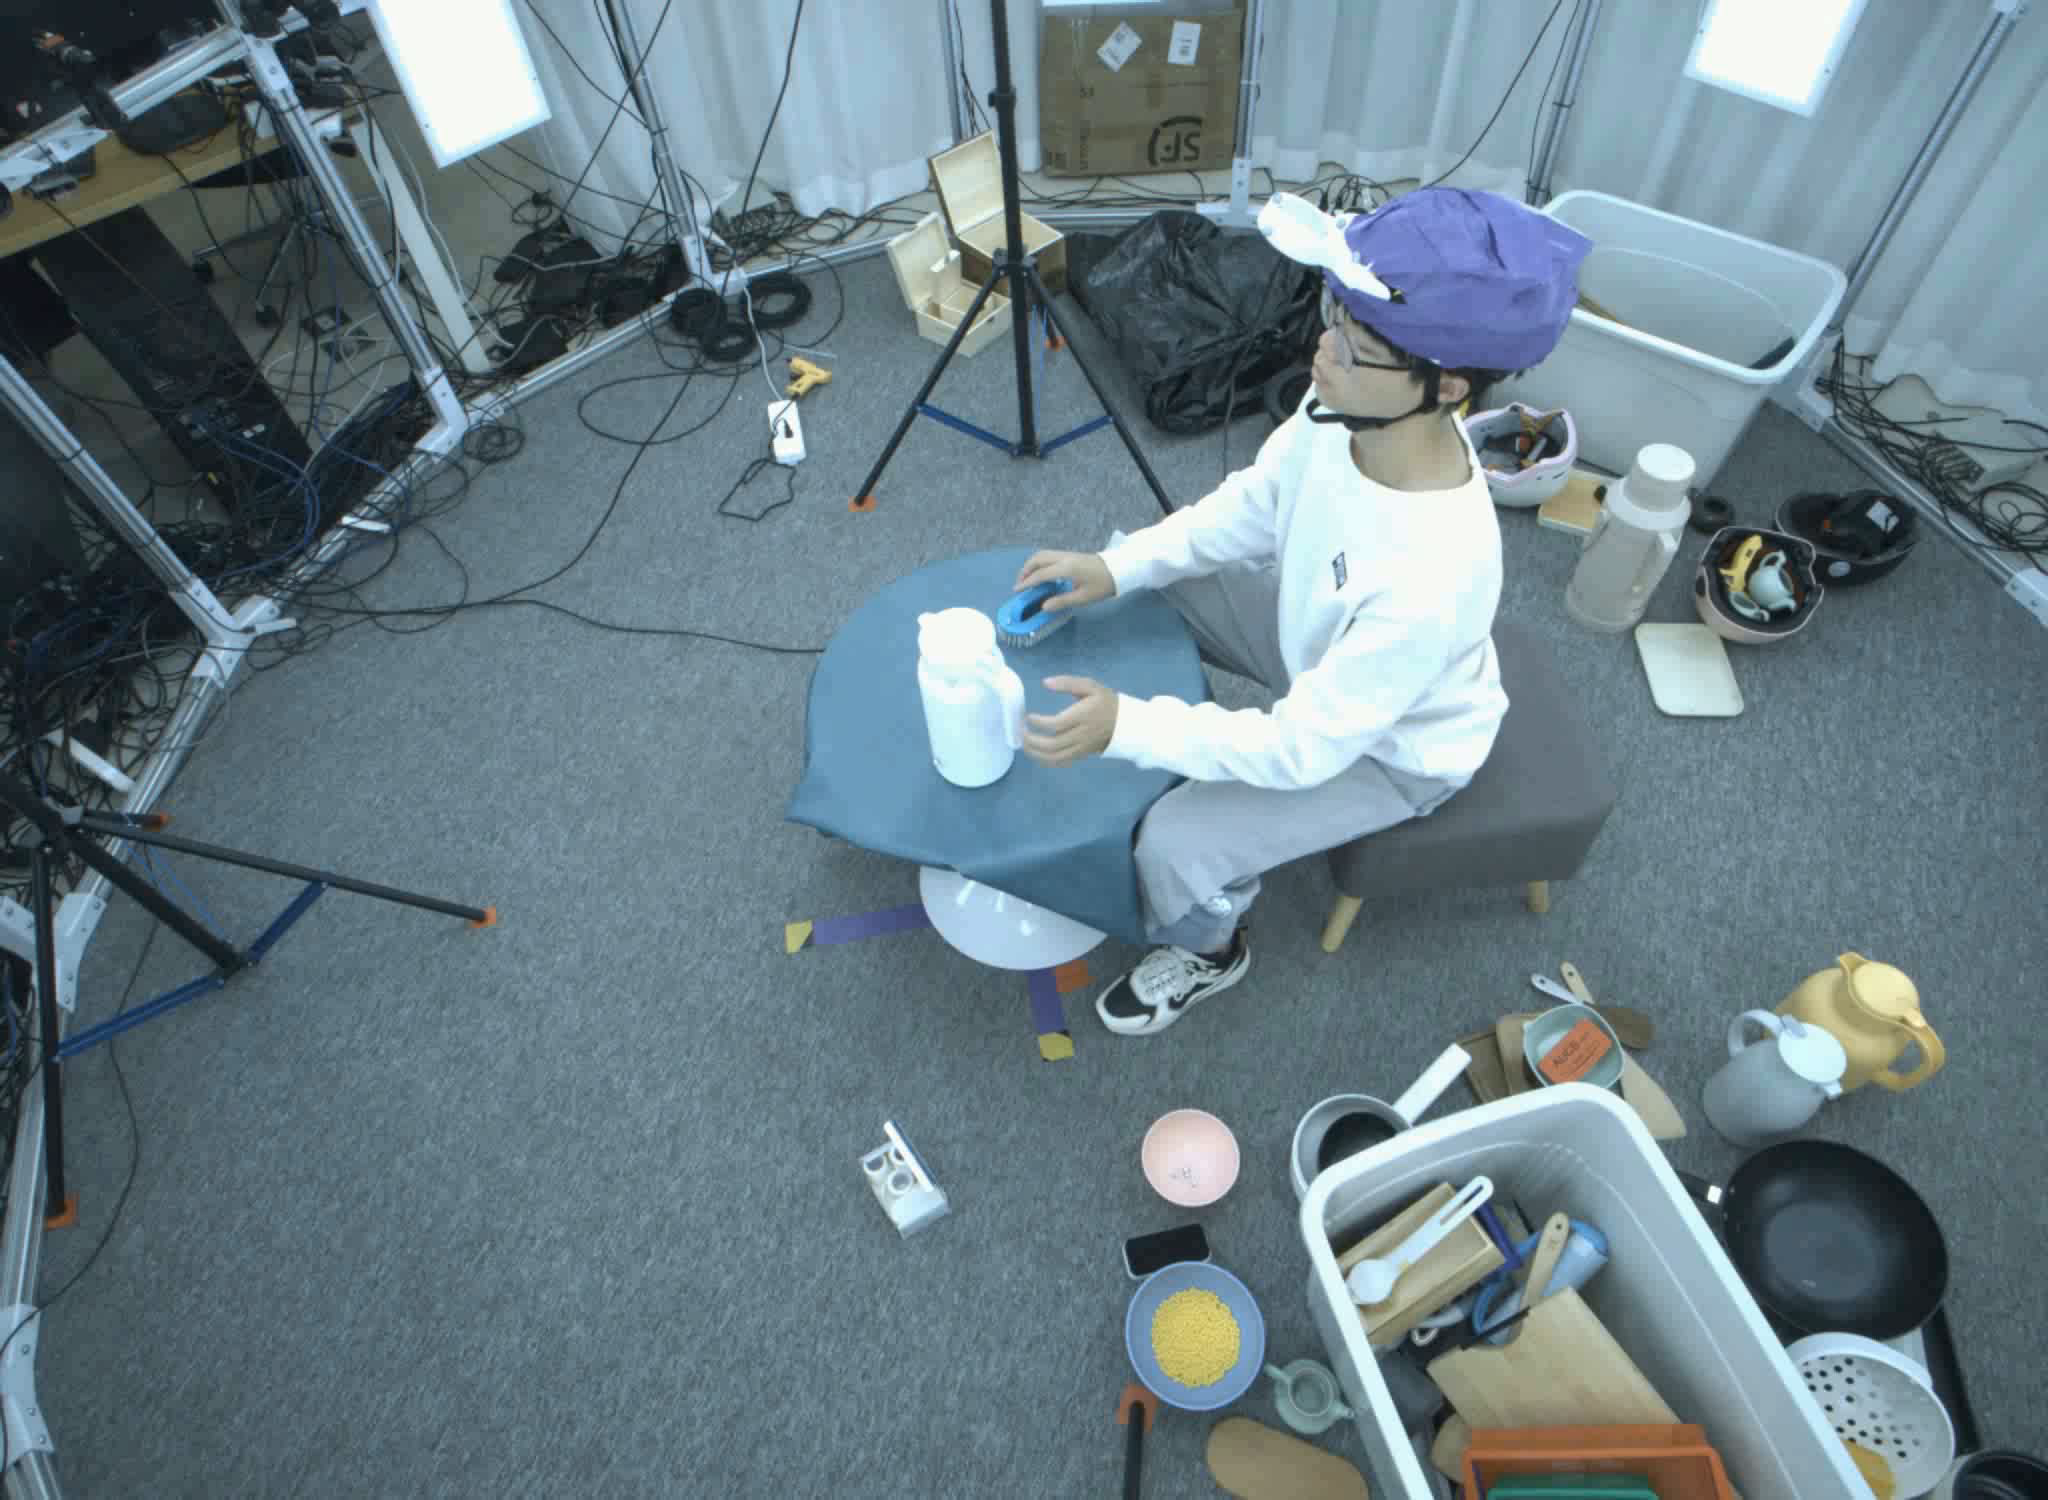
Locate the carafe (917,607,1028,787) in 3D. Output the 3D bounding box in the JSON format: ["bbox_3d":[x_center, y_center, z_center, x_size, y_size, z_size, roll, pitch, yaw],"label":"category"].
[{"bbox_3d":[-0.065,-0.061,1.665,0.170,0.271,0.125,35,61,24],"label":"carafe"}]

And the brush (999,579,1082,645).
[{"bbox_3d":[0.022,-0.226,1.906,0.143,0.064,0.082,-32,54,-21],"label":"brush"}]
